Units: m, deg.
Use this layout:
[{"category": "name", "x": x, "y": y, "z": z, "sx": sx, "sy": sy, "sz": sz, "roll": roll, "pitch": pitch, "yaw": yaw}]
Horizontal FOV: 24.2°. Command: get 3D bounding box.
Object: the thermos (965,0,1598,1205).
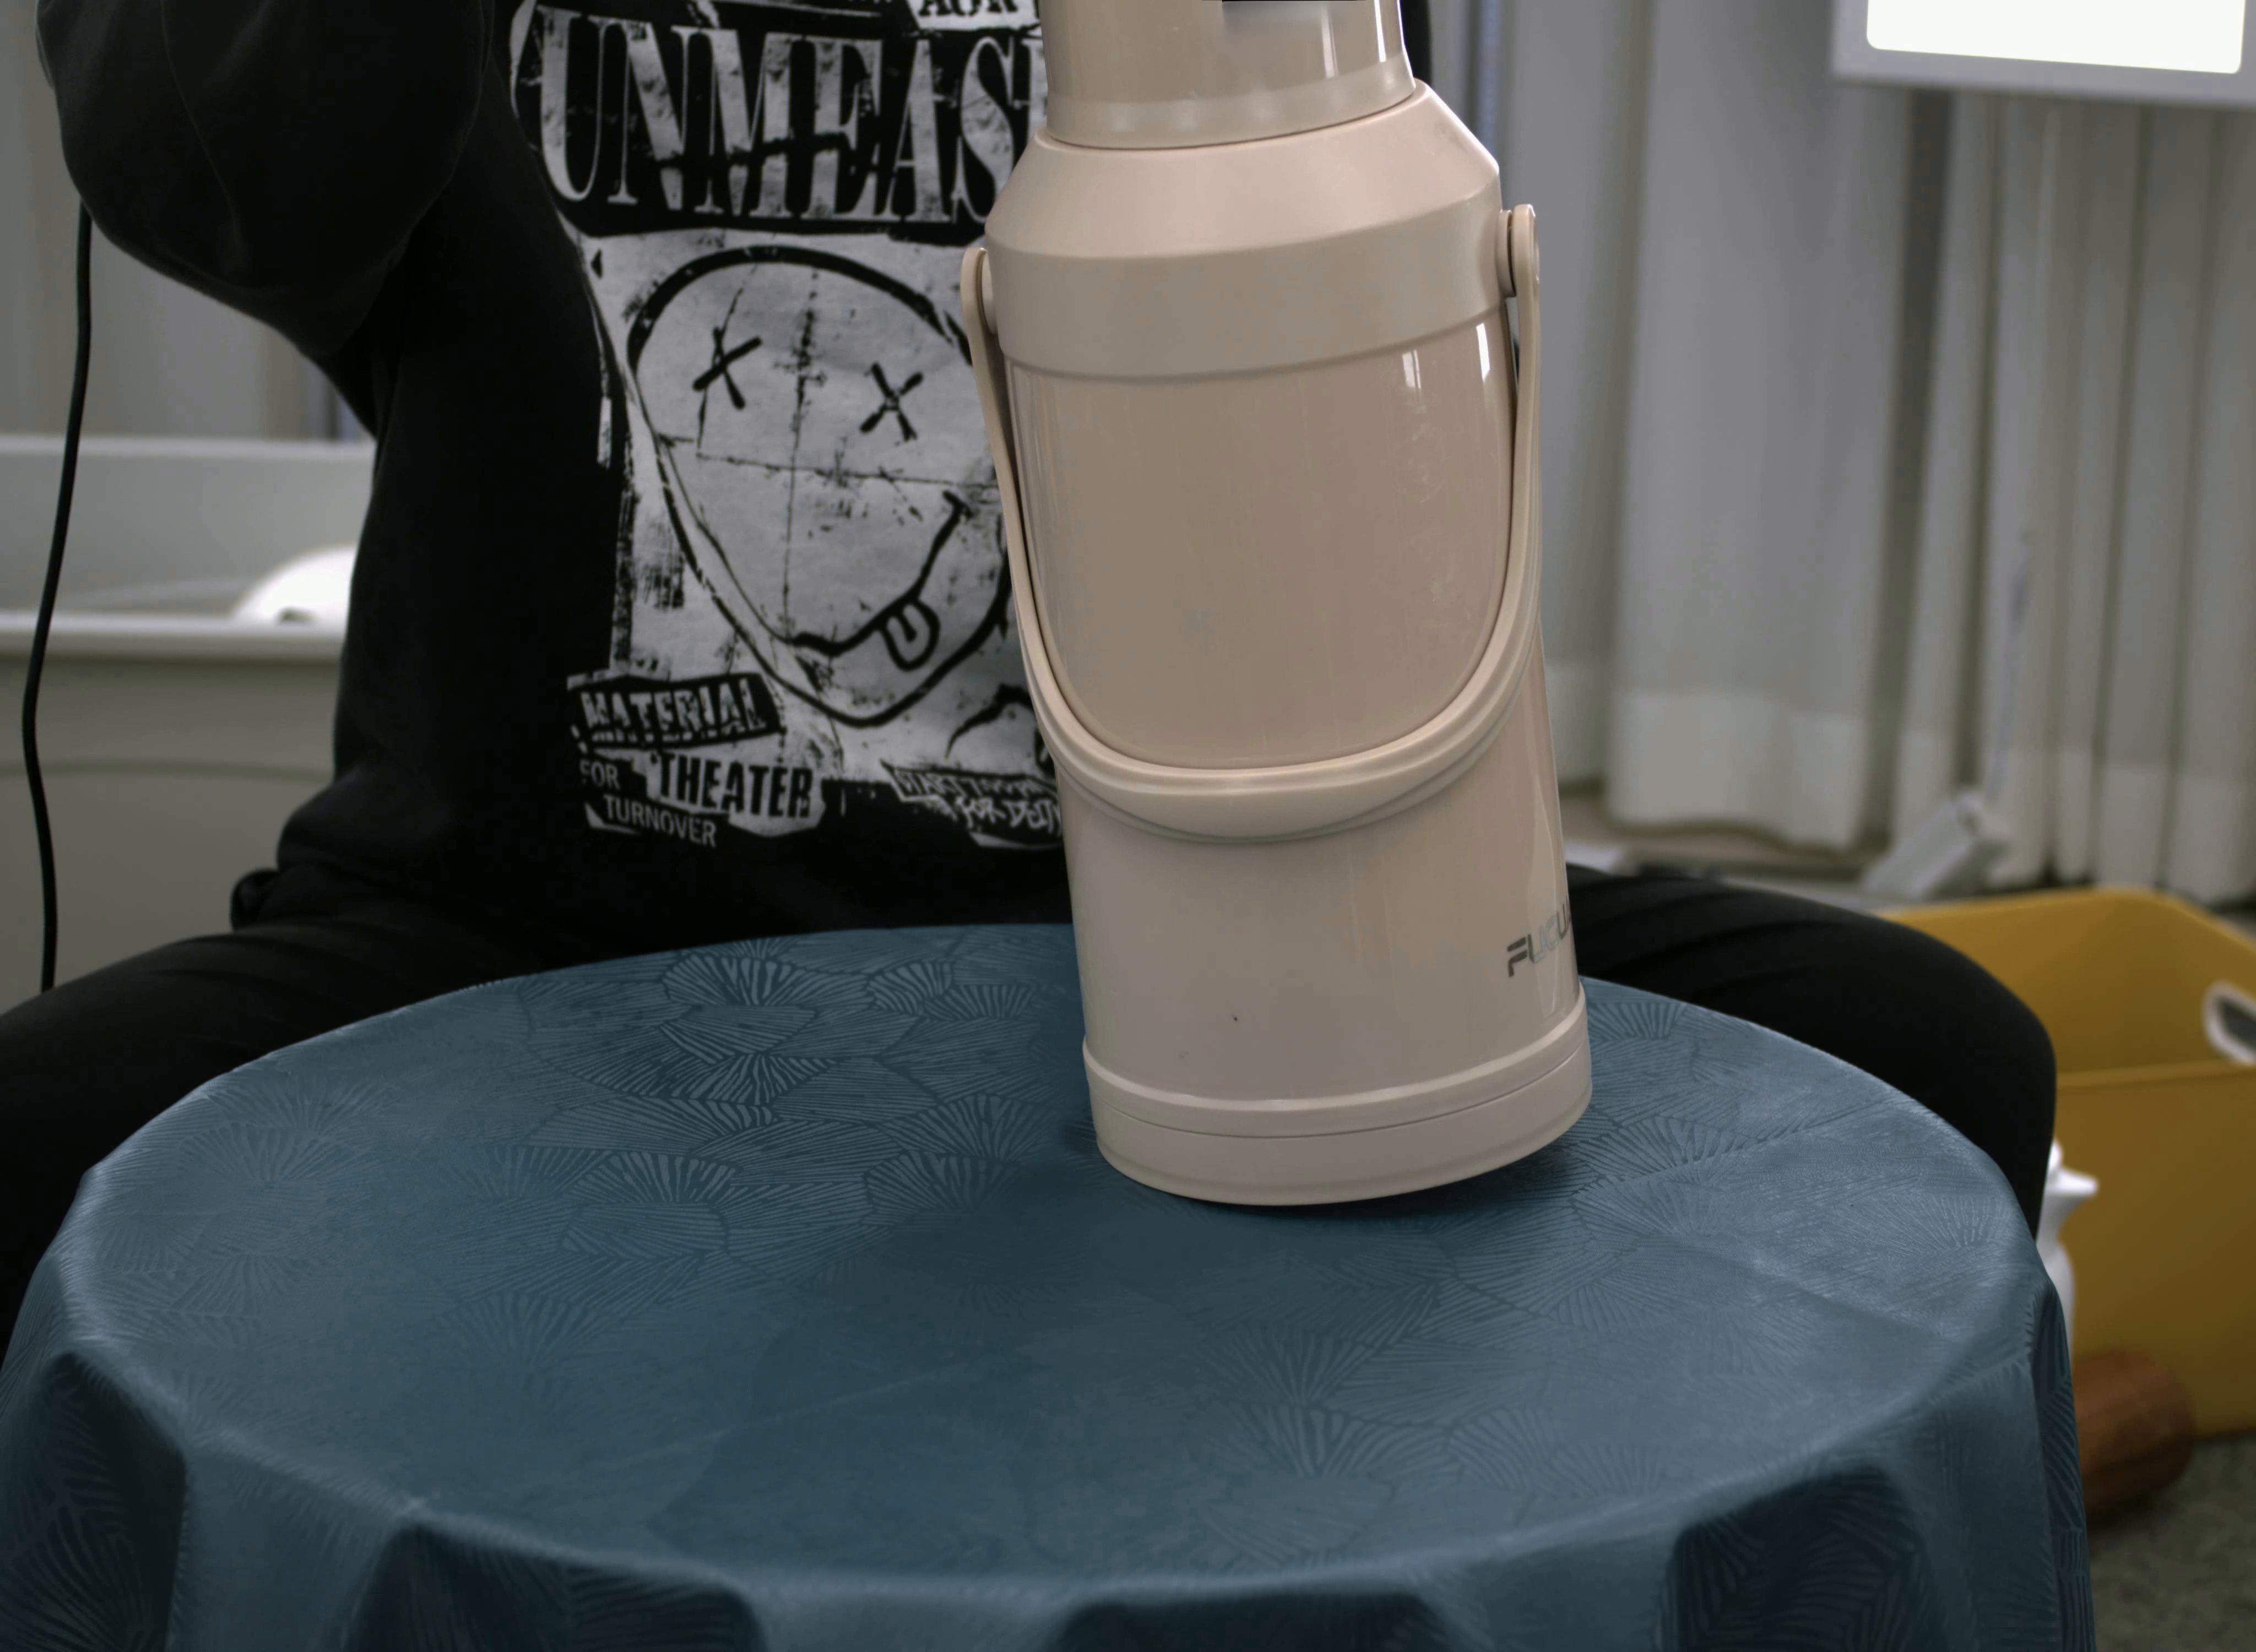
[{"category": "thermos", "x": 0.050, "y": -0.102, "z": 1.621, "sx": 0.174, "sy": 0.410, "sz": 0.206, "roll": -5, "pitch": 18, "yaw": 11}]
